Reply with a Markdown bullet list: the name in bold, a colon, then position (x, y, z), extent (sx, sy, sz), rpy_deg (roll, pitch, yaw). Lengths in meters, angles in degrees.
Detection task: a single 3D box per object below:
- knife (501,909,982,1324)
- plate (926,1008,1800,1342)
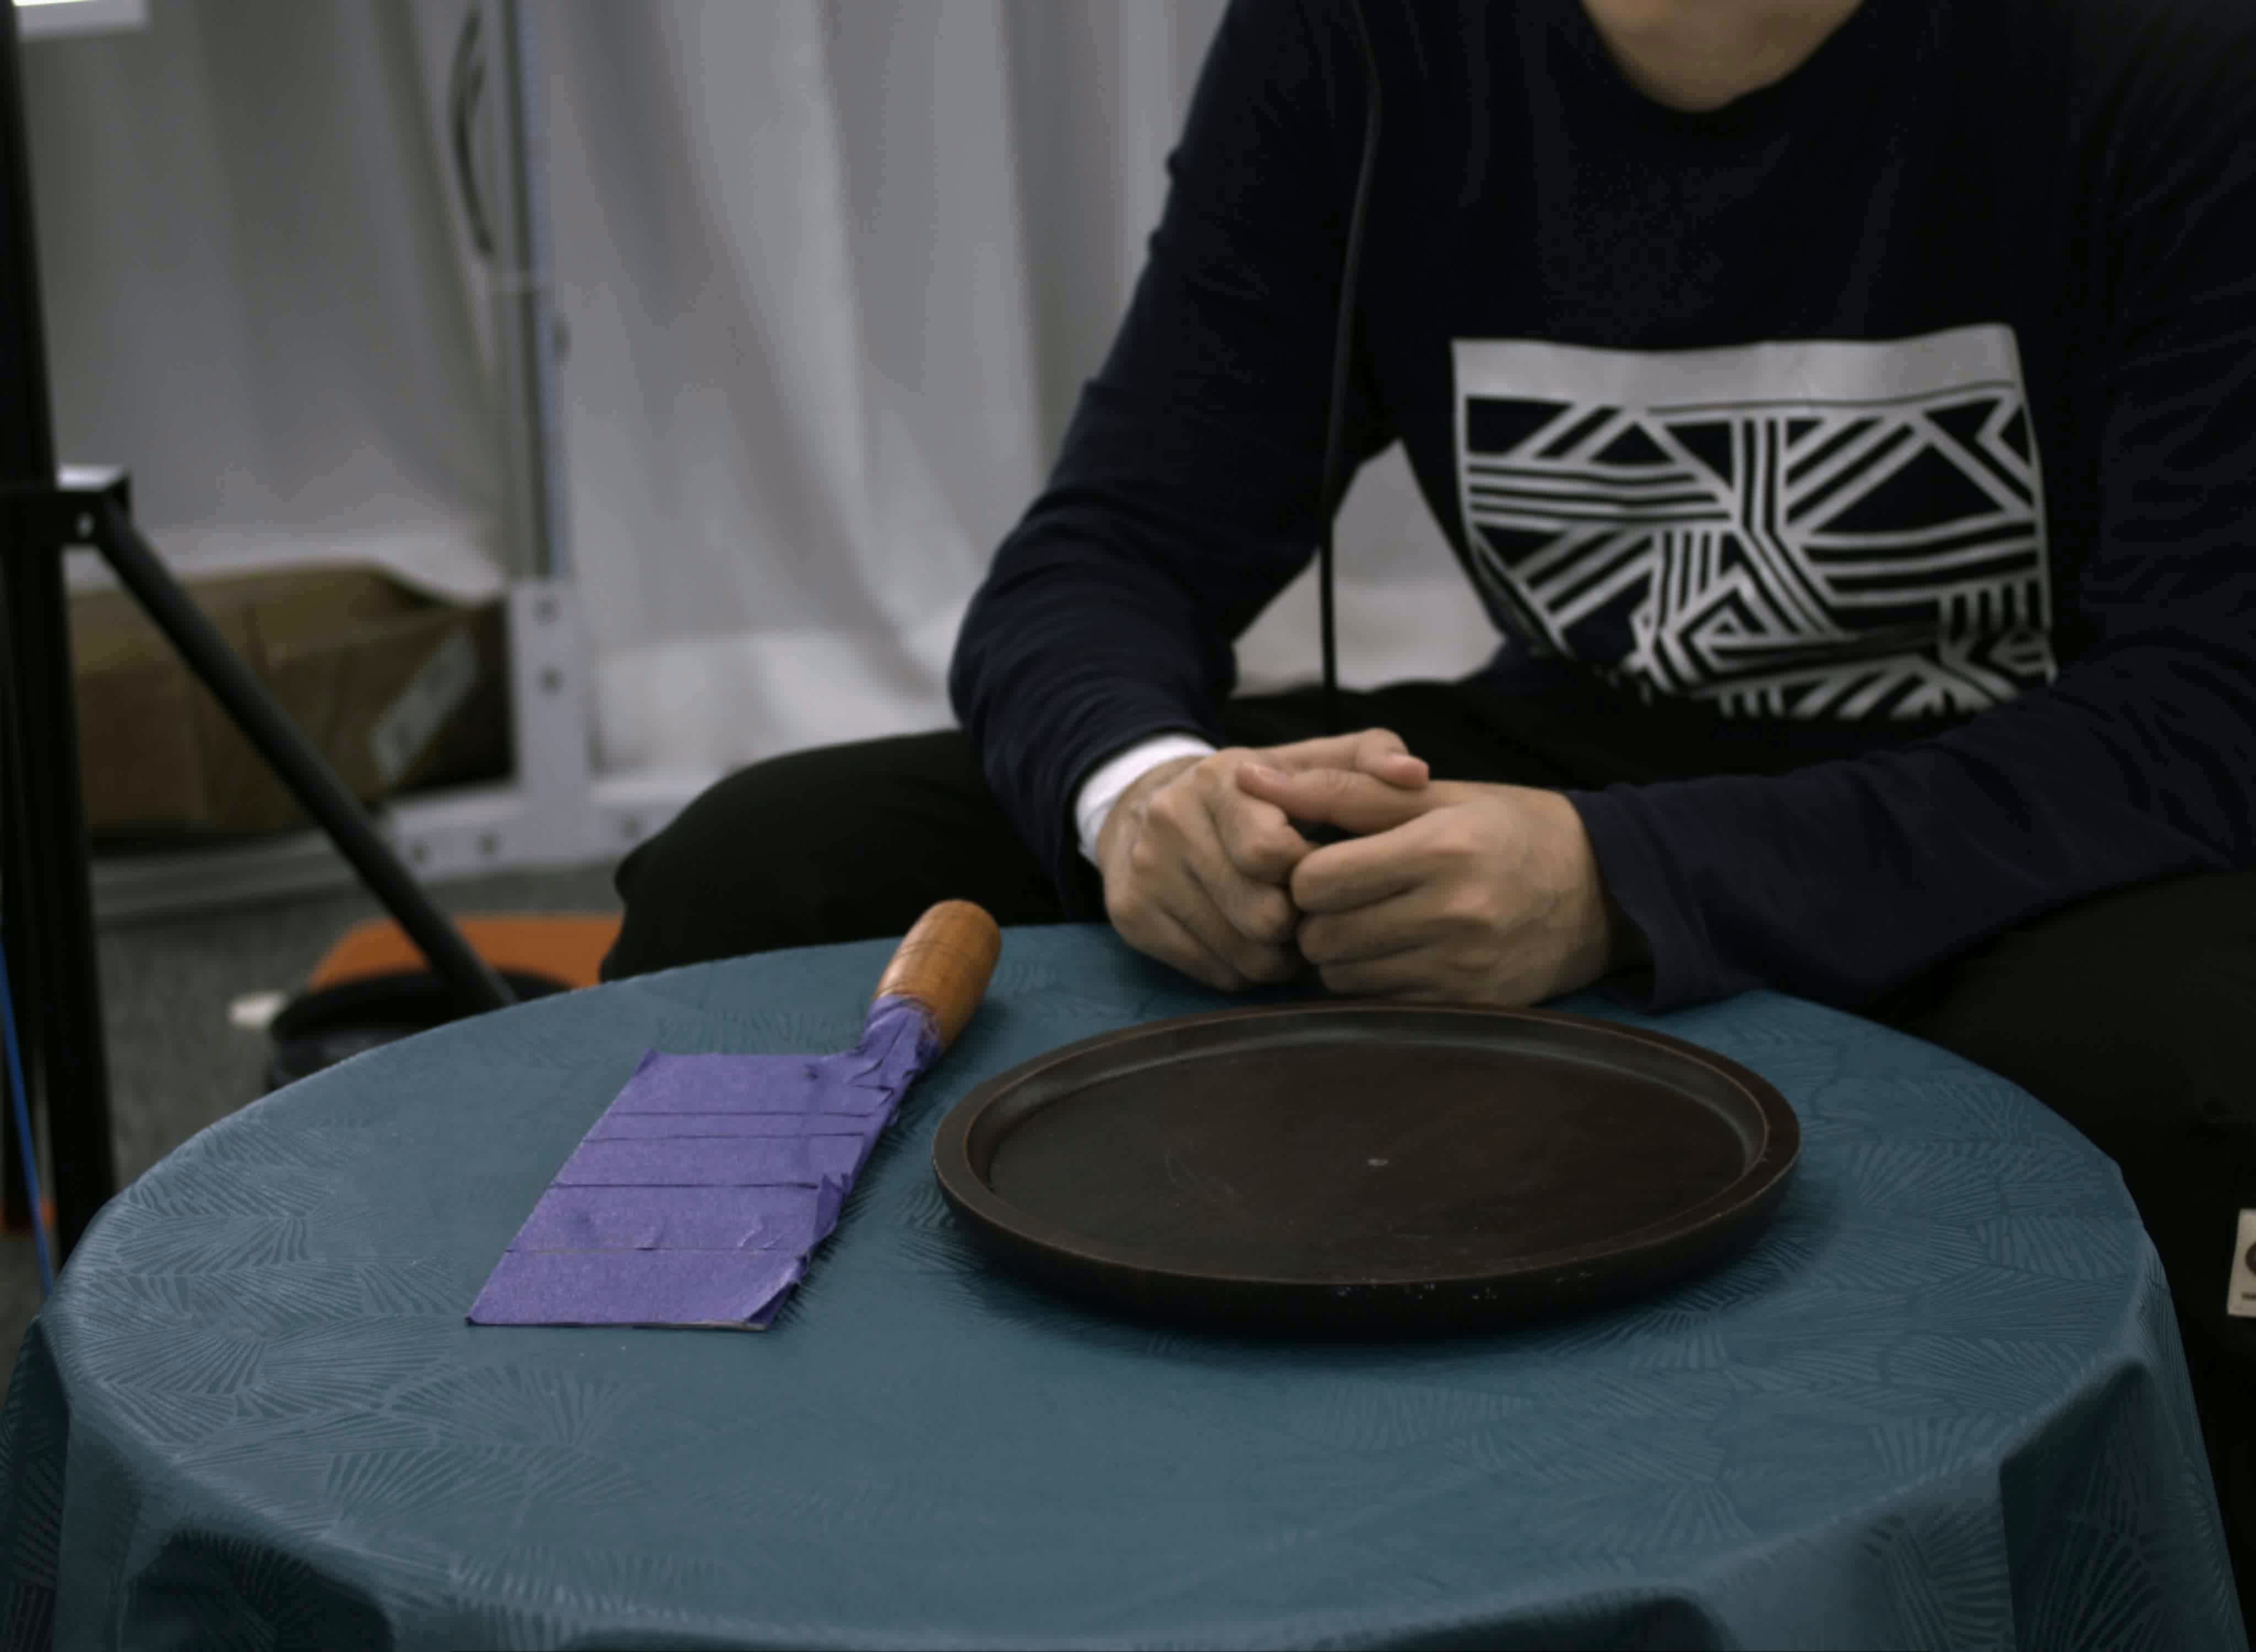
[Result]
- **knife**: position (-0.114, 0.085, 1.613), extent (0.104, 0.032, 0.314), rpy_deg (1, 16, 10)
- **plate**: position (0.068, 0.098, 1.542), extent (0.253, 0.029, 0.256), rpy_deg (-3, 17, -1)
